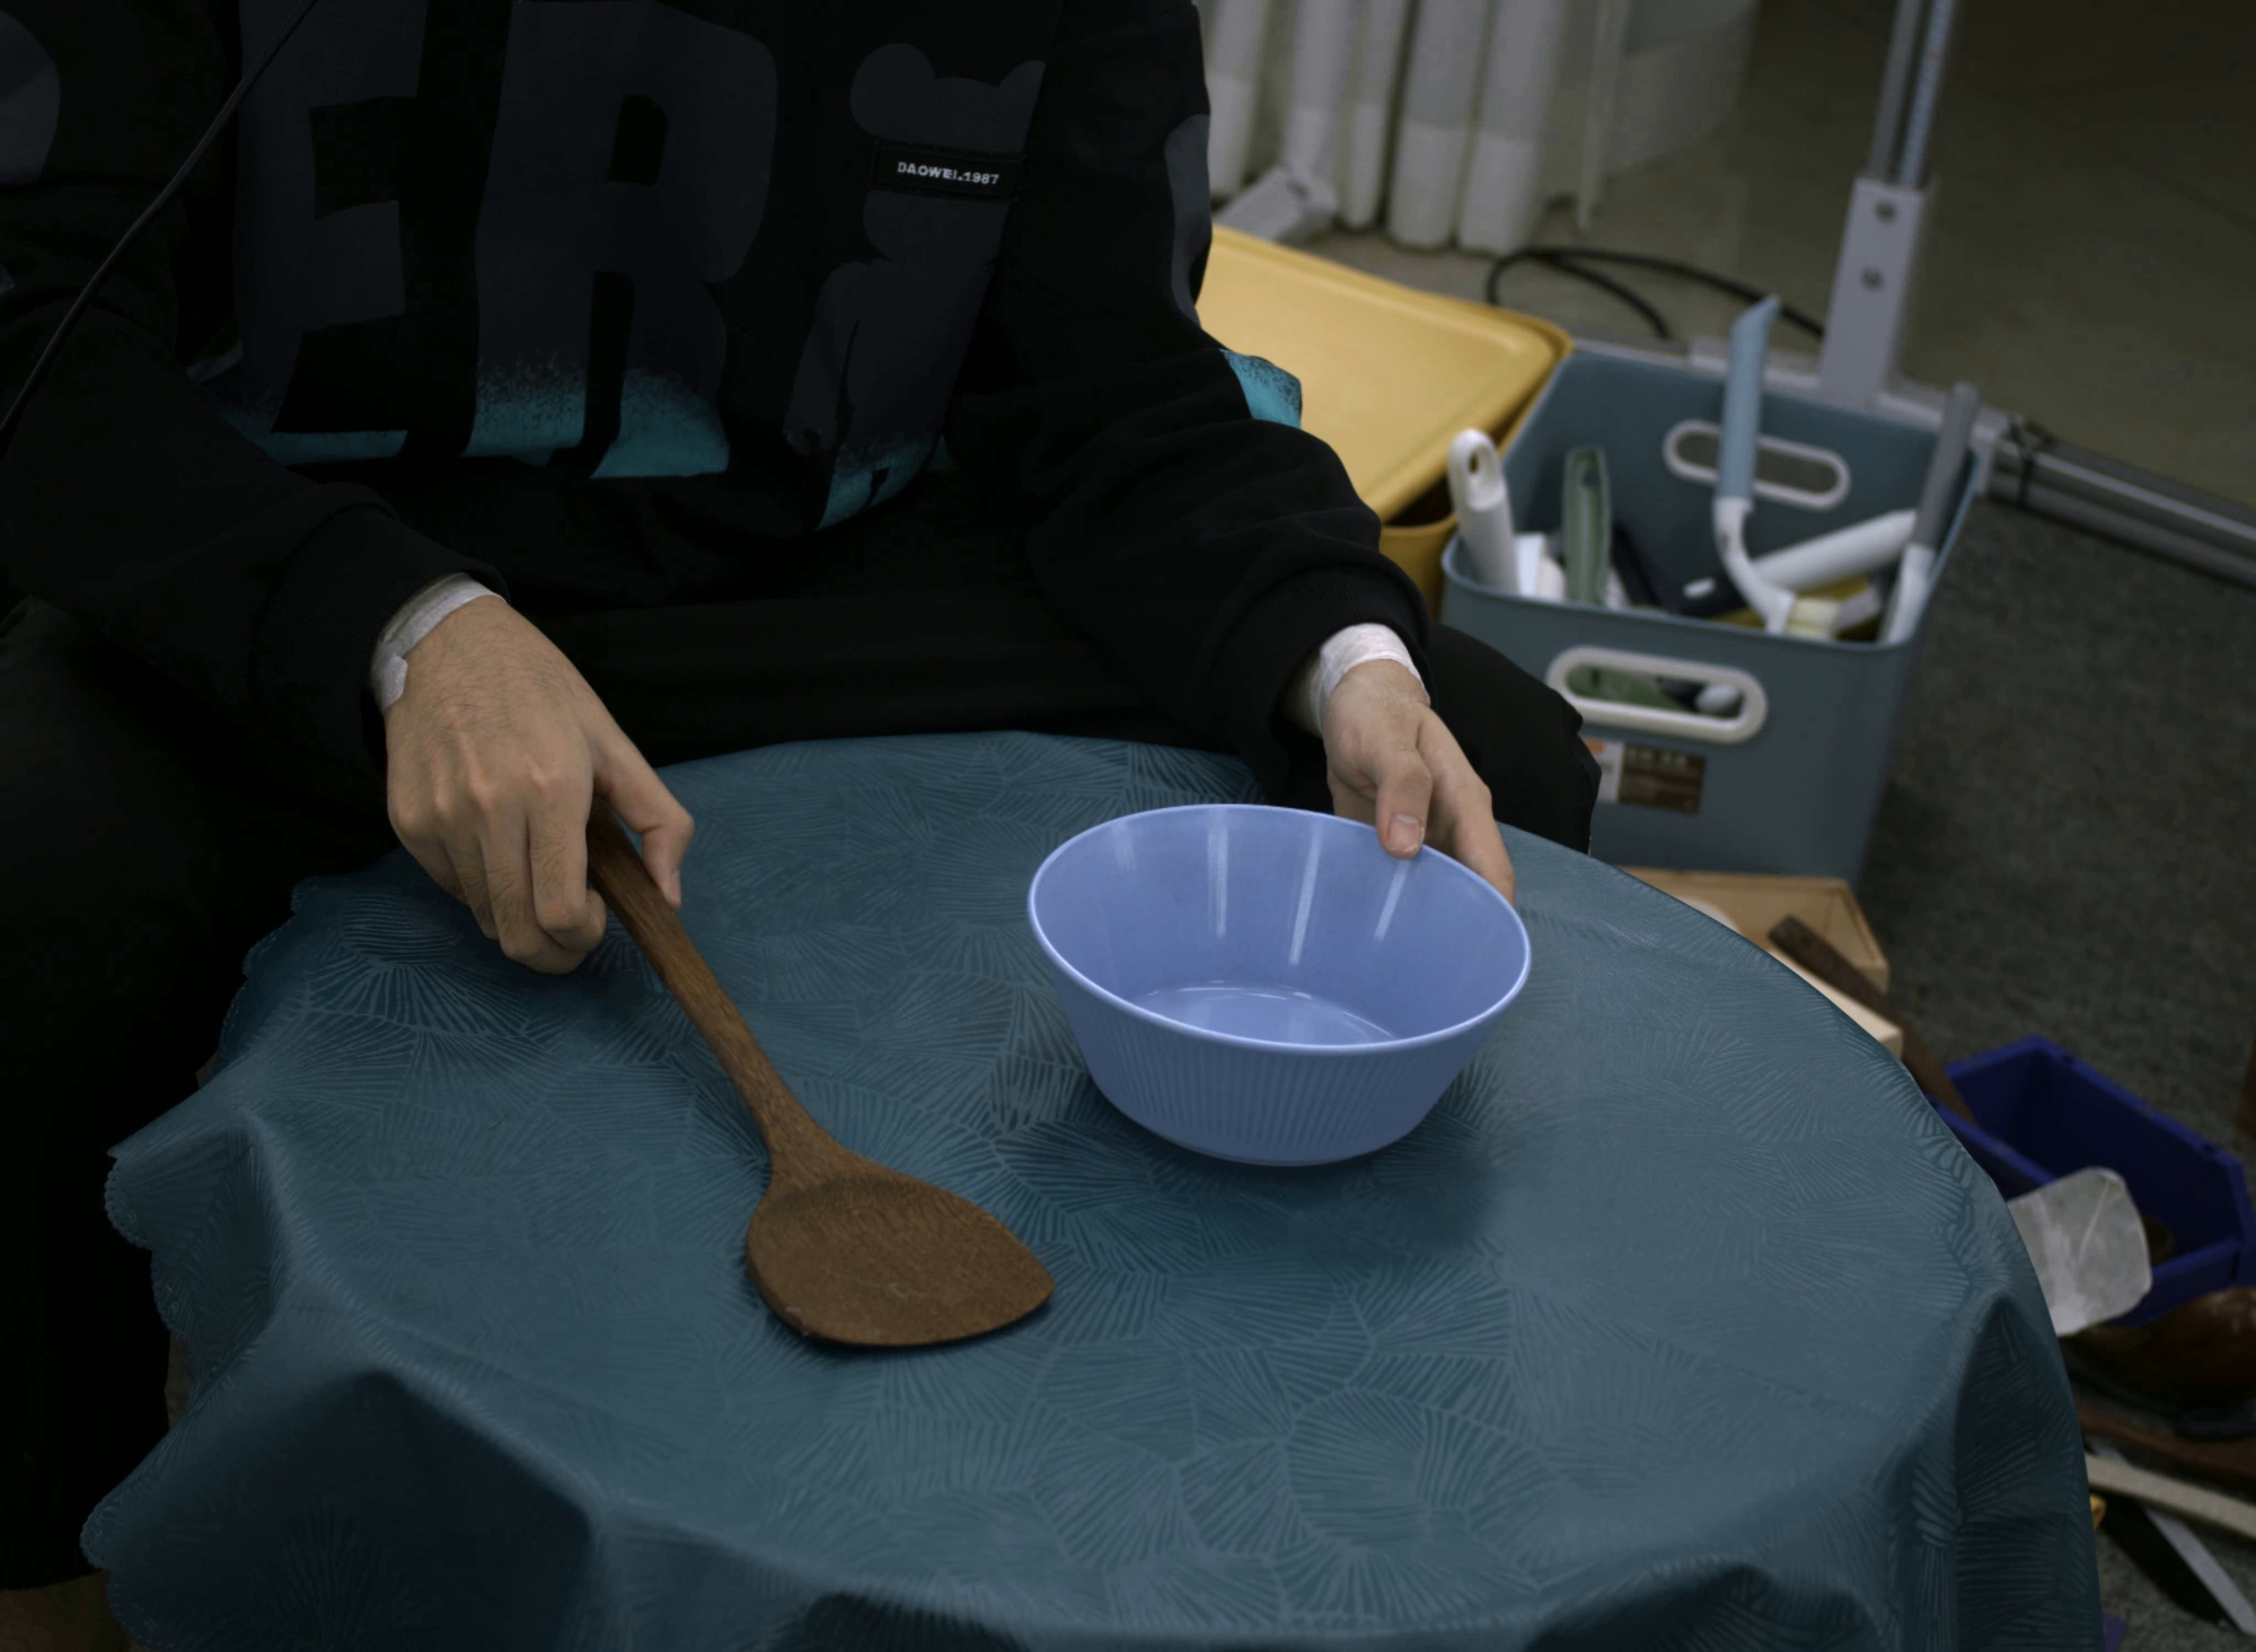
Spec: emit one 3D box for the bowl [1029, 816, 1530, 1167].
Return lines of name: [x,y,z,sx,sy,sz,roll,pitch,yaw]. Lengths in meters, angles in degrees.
bowl: [0.050,0.063,1.855,0.175,0.070,0.177,5,25,-3]

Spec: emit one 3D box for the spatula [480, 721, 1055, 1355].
spatula: [-0.145,0.064,1.839,0.095,0.016,0.390,-8,37,-28]
